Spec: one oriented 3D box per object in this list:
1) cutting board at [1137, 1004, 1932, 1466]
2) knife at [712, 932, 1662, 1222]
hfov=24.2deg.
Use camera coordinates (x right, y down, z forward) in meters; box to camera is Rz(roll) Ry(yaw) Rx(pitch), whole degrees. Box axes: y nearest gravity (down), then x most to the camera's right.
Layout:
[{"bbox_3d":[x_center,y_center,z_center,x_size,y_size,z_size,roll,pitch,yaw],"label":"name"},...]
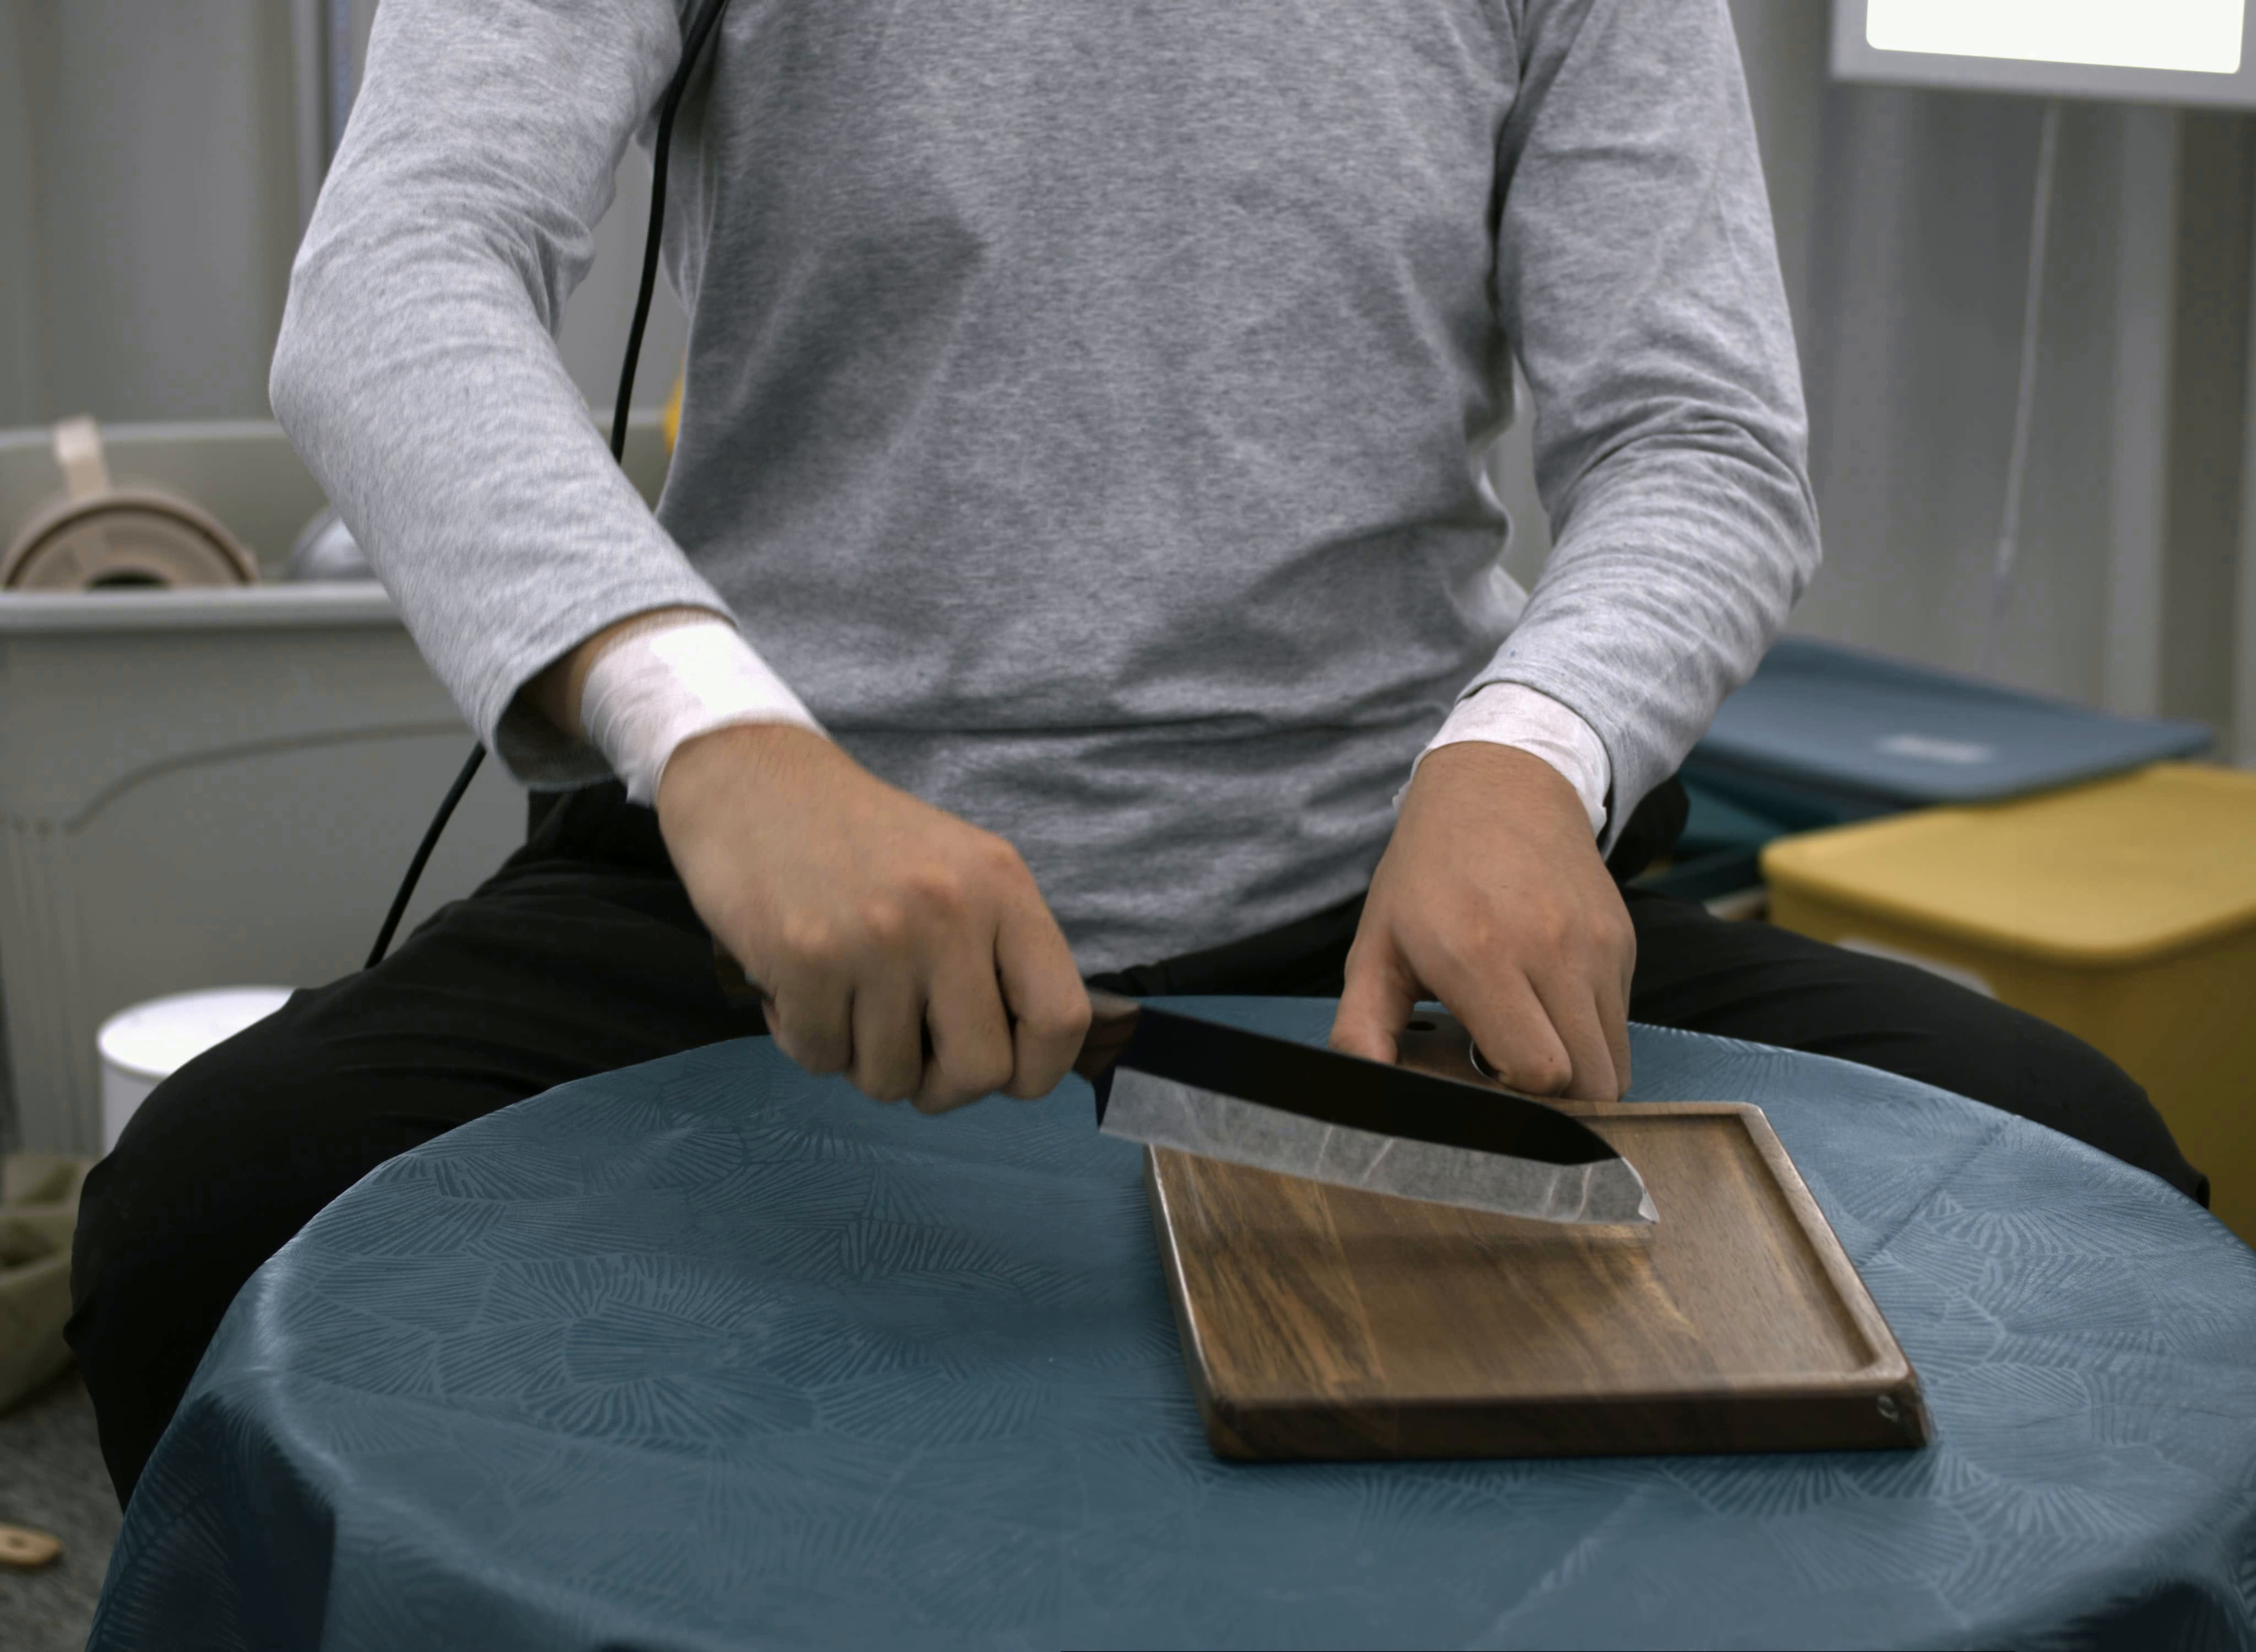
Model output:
[{"bbox_3d":[0.107,0.115,1.581,0.201,0.023,0.350,0,15,-5],"label":"cutting board"},{"bbox_3d":[0.017,0.075,1.539,0.288,0.050,0.020,15,28,-1],"label":"knife"}]
